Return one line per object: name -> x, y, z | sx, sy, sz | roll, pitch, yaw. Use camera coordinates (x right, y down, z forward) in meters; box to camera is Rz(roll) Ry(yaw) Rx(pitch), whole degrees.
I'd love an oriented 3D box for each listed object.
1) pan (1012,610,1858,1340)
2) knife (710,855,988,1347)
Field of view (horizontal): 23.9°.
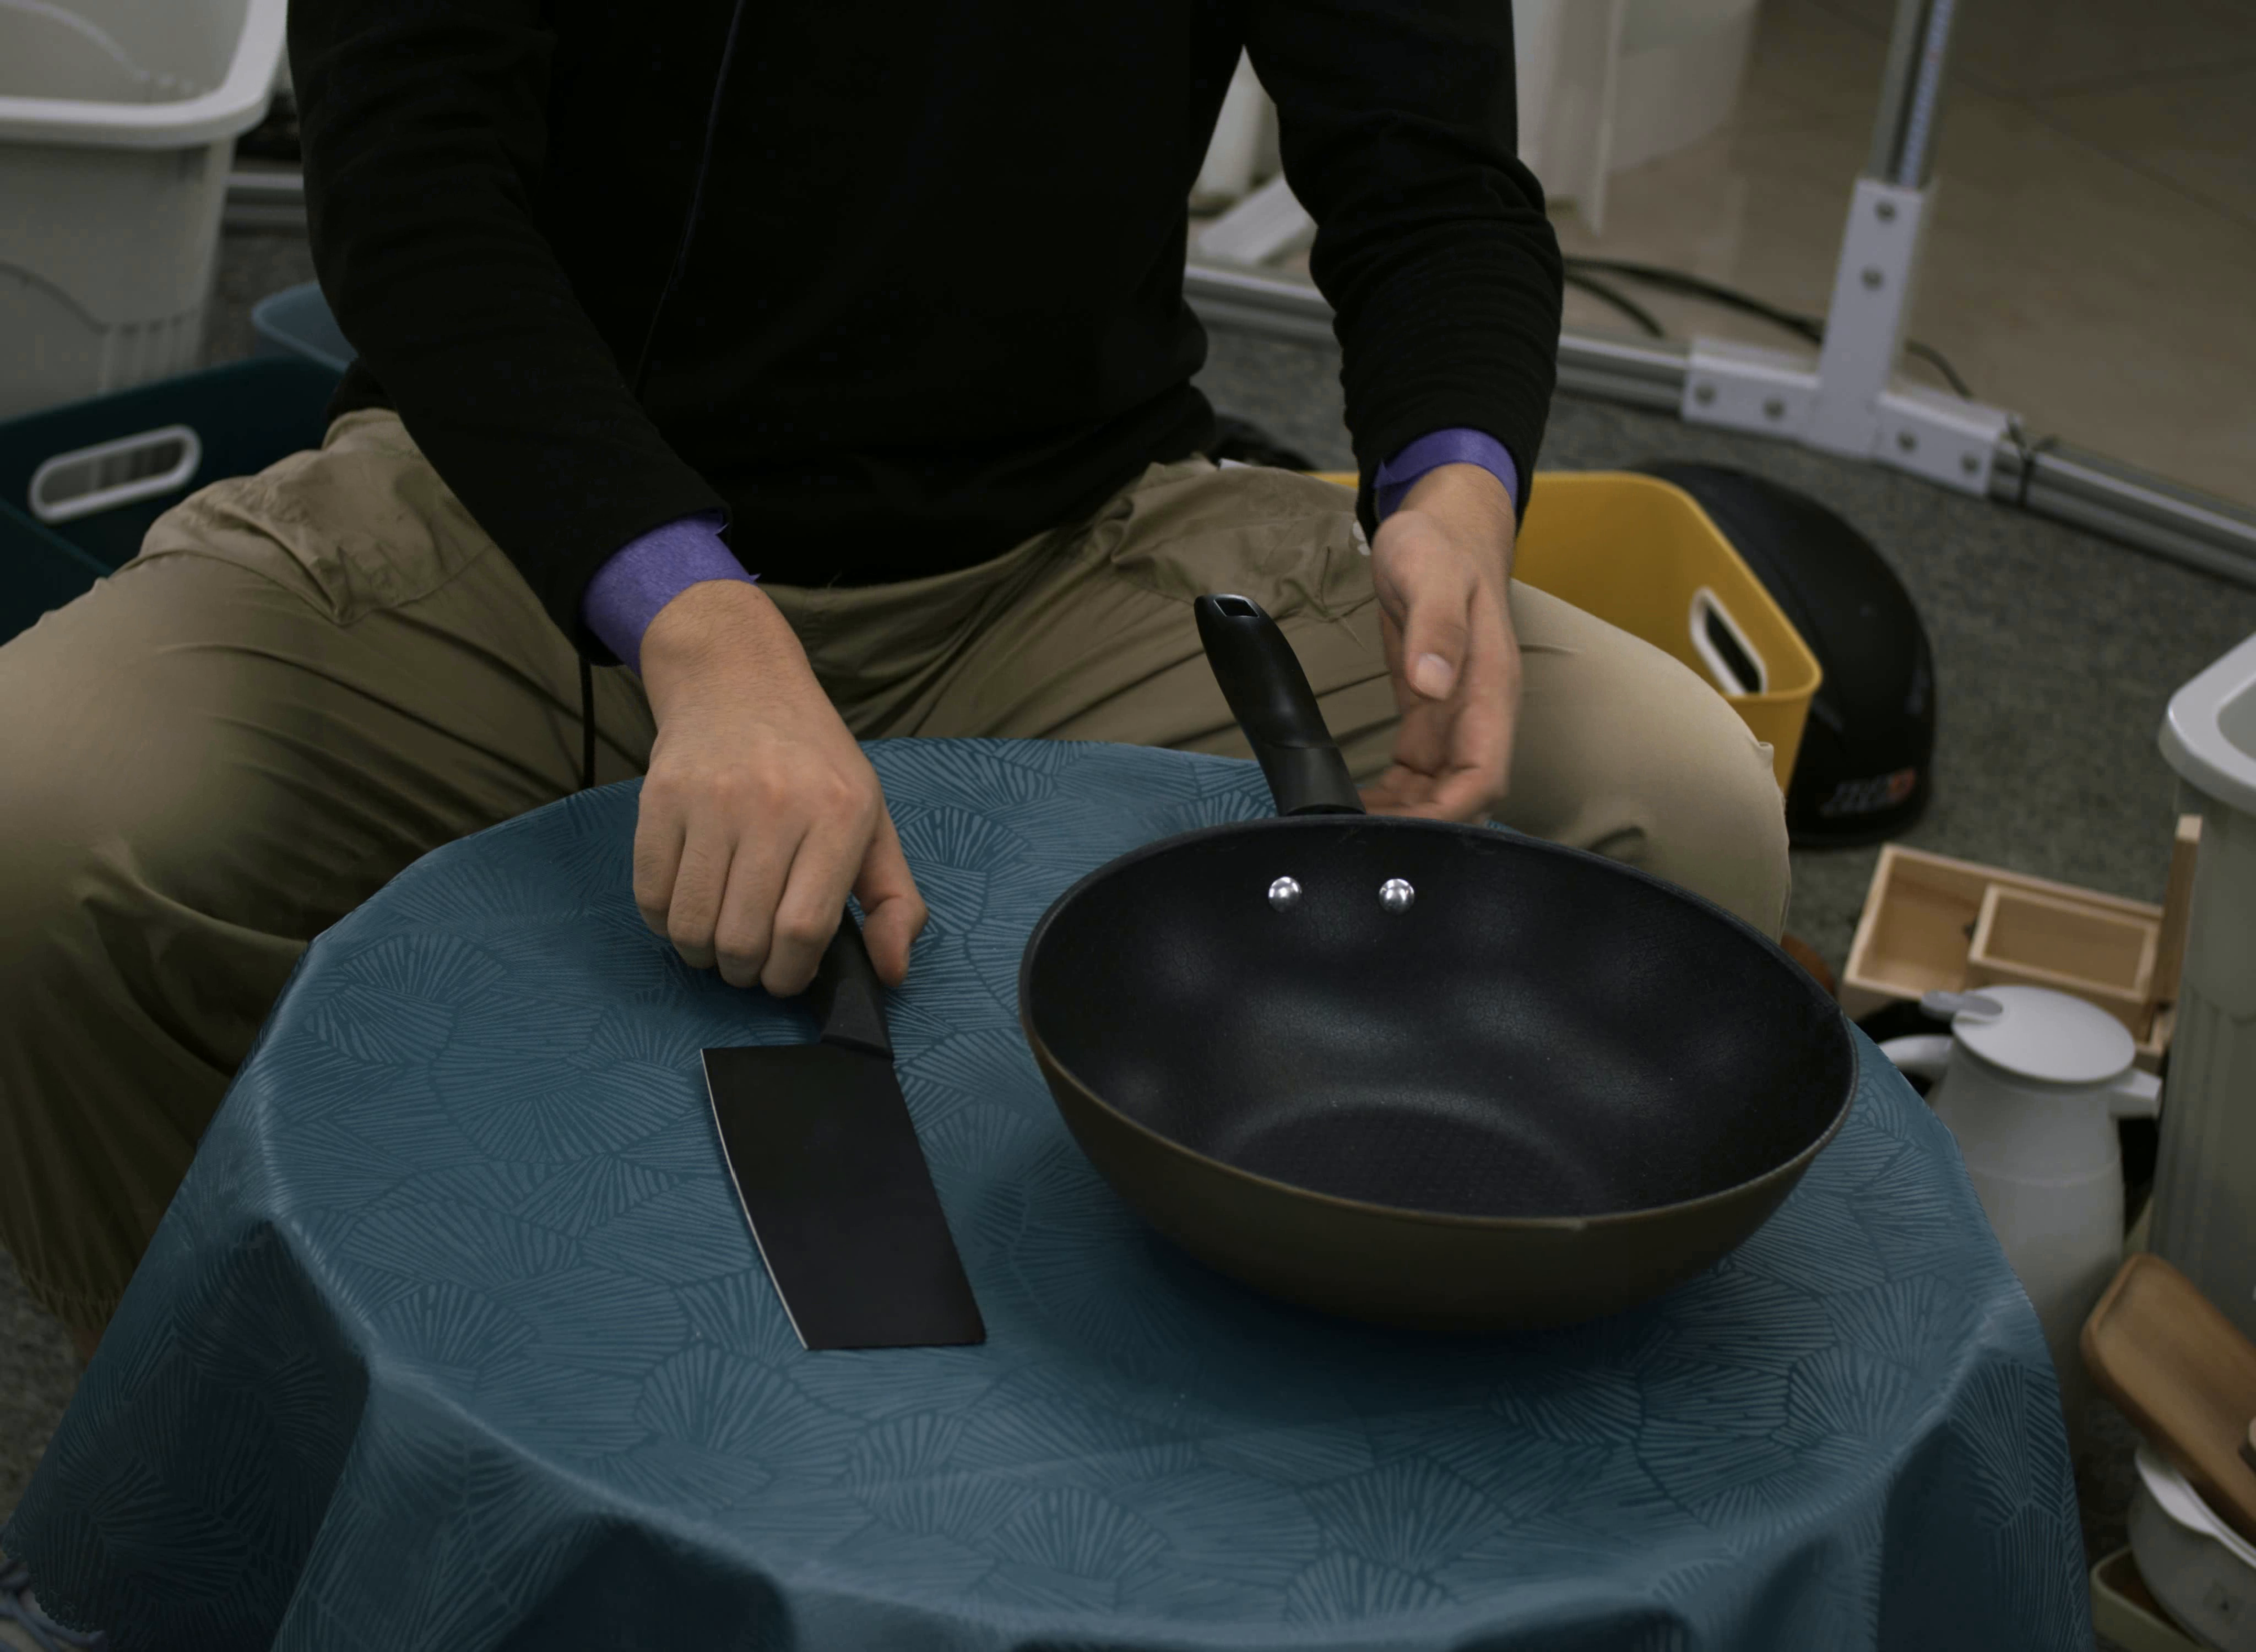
pan -> 0.081, 0.054, 1.871 | 0.286, 0.086, 0.467 | 0, 27, -13
knife -> -0.104, 0.092, 1.829 | 0.080, 0.021, 0.305 | 2, 29, -10
